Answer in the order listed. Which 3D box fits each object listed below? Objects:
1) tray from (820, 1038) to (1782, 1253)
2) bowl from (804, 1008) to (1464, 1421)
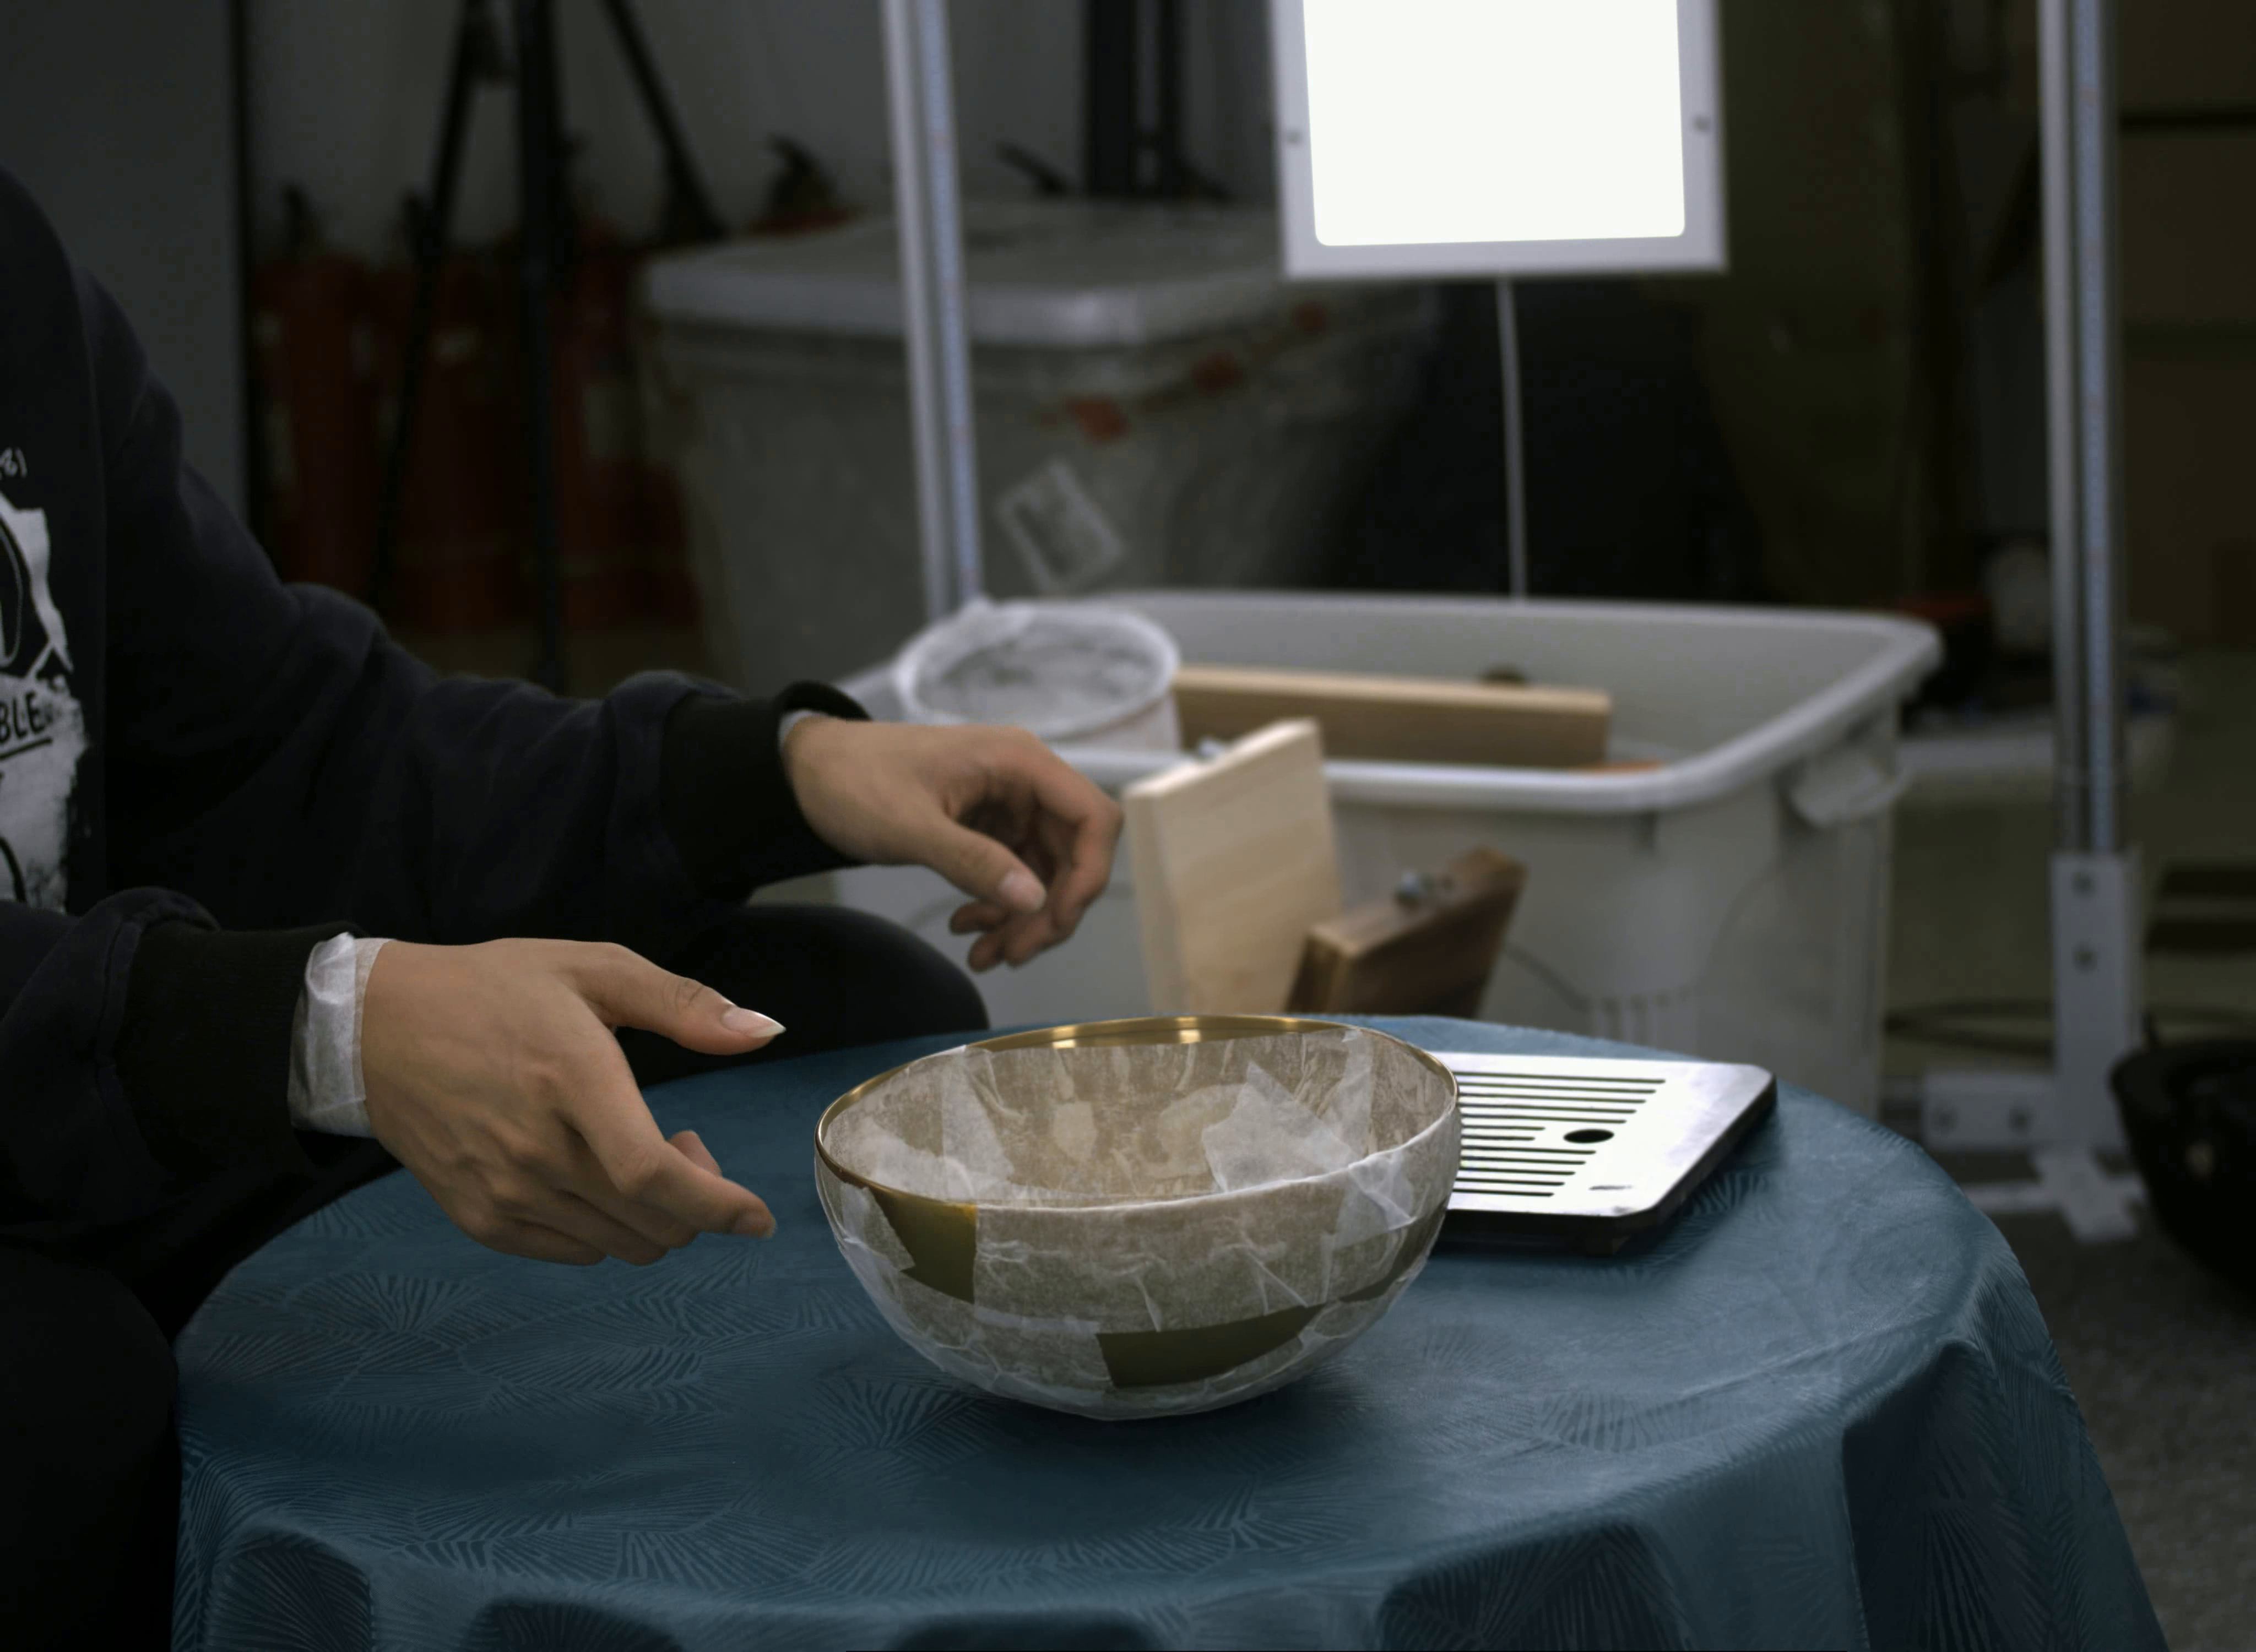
[{"bbox_3d":[0.061,0.109,1.911,0.311,0.019,0.167,1,15,24],"label":"tray"},{"bbox_3d":[0.007,0.127,1.700,0.214,0.095,0.214,-6,14,0],"label":"bowl"}]
